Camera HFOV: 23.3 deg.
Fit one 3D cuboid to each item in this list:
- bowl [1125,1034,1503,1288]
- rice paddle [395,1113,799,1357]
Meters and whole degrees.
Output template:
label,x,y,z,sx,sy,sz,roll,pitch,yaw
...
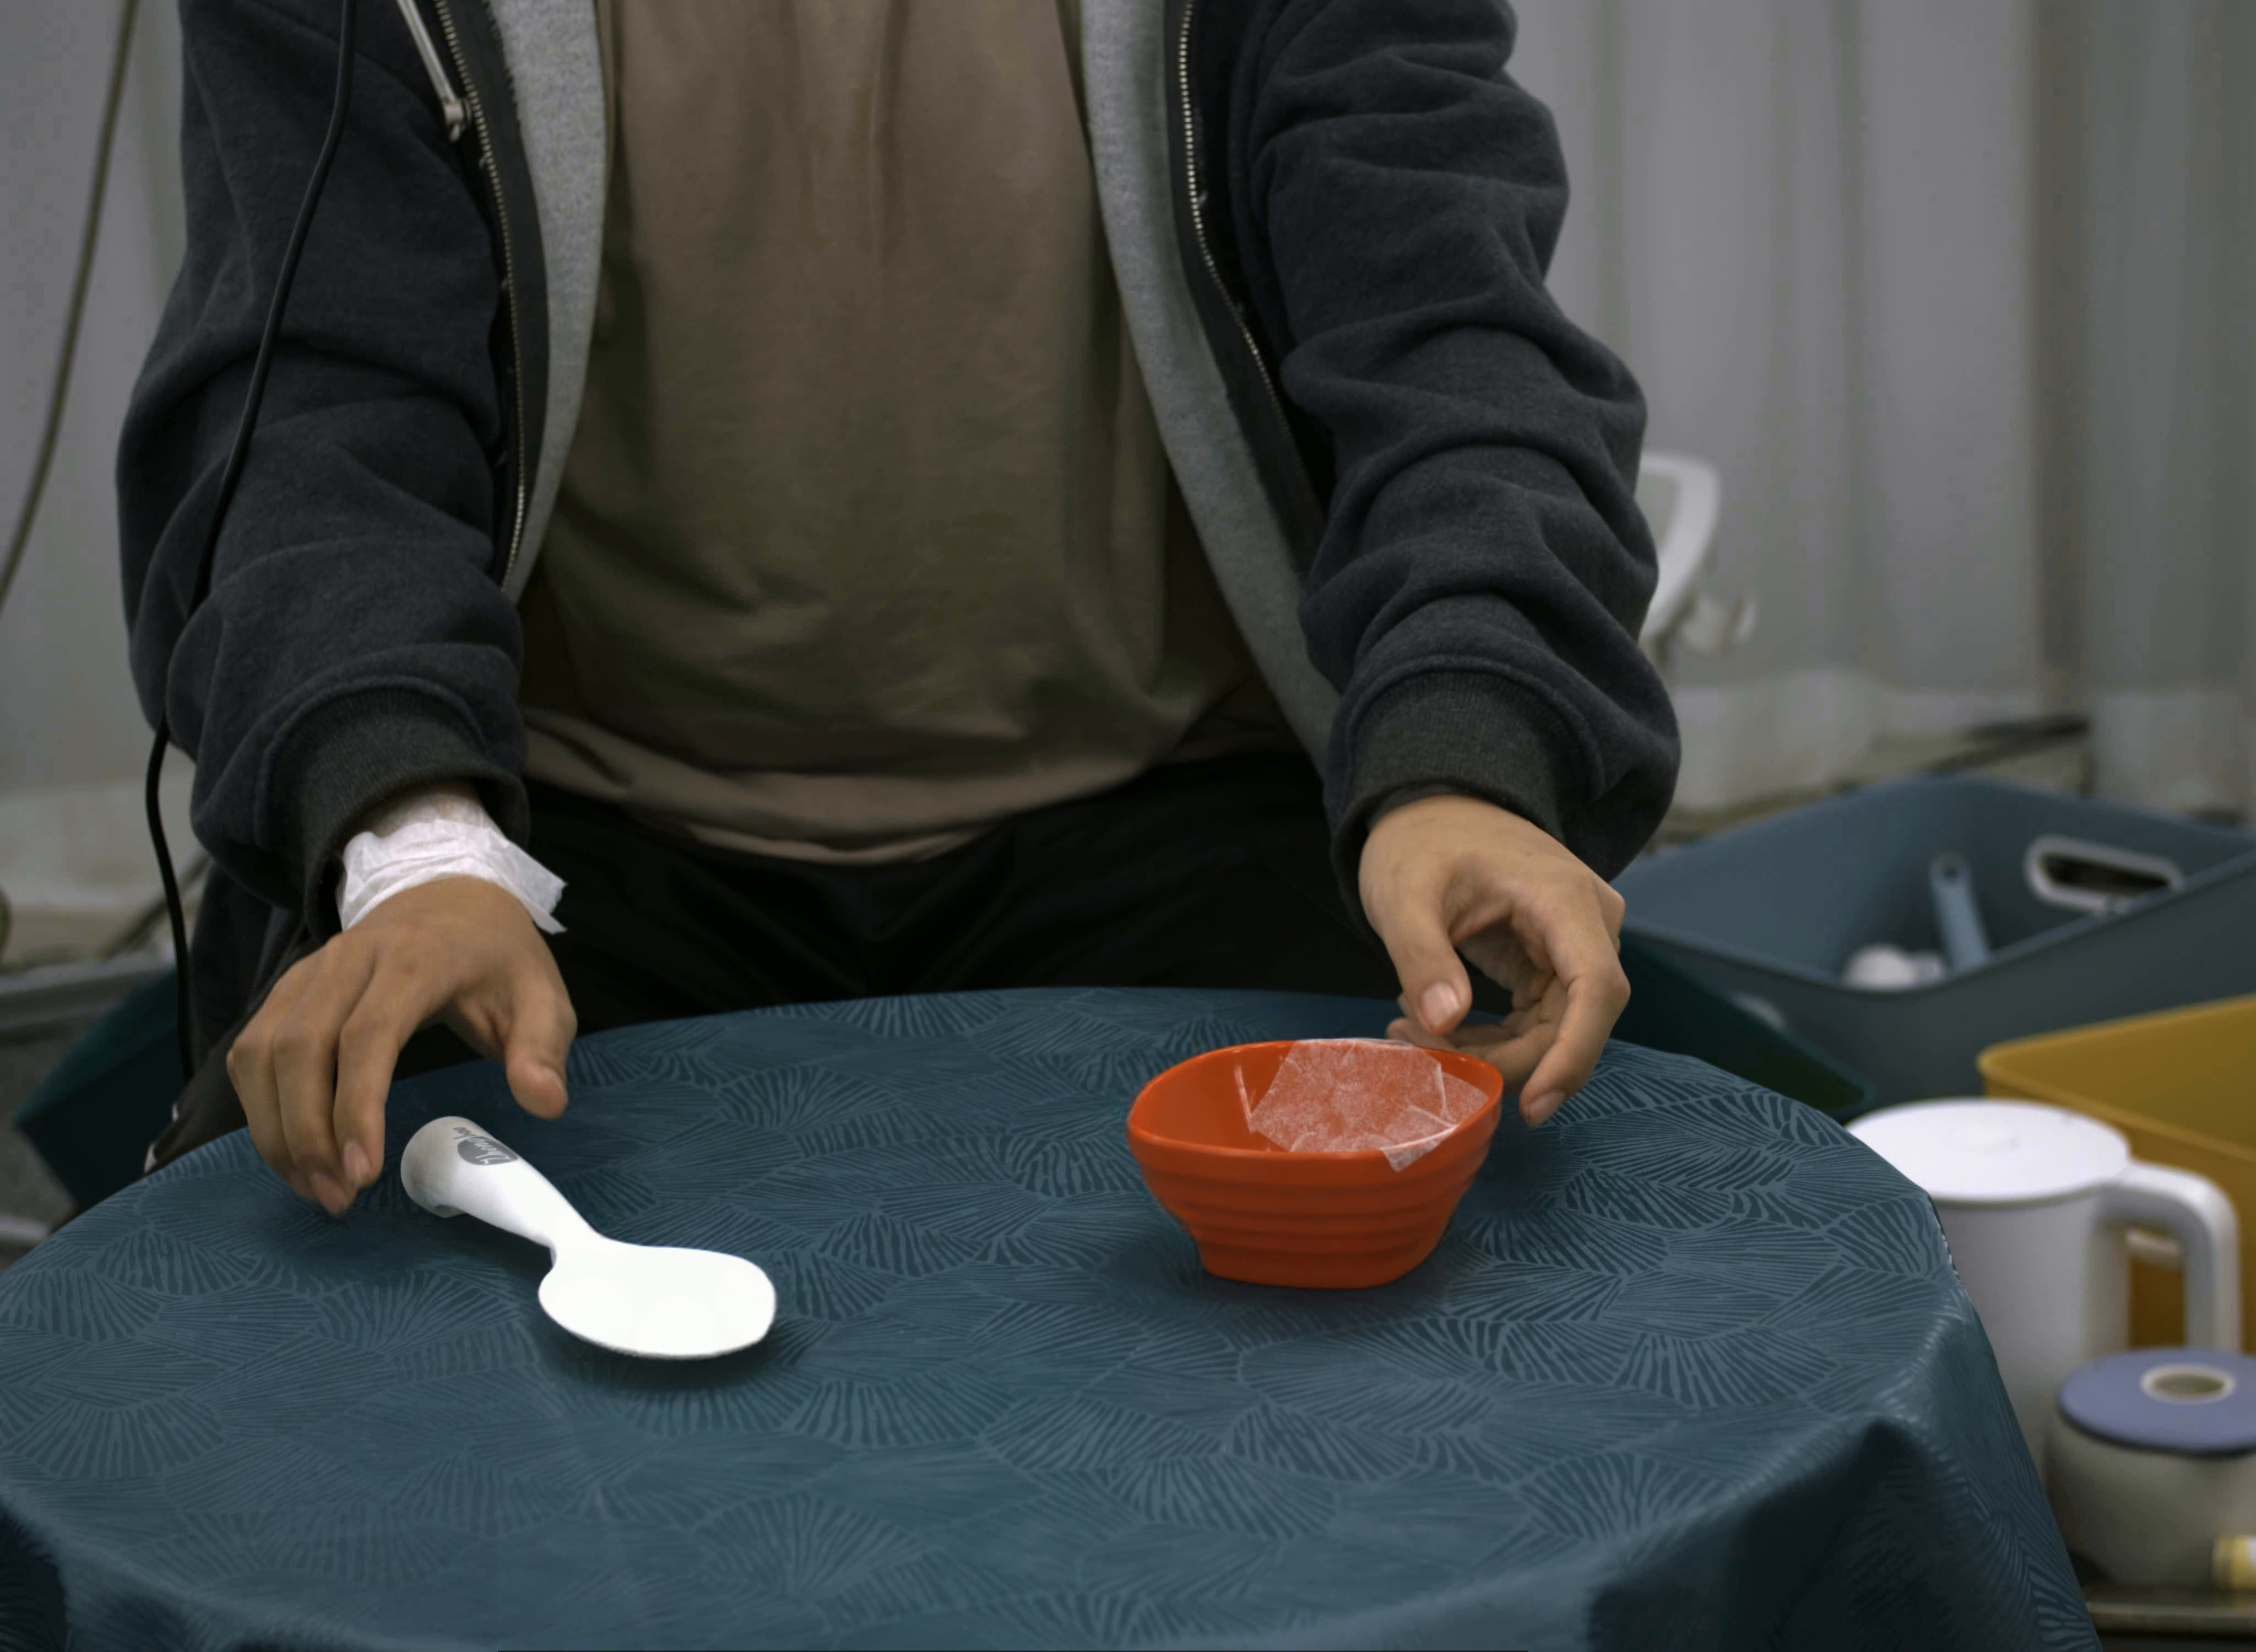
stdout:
label,x,y,z,sx,sy,sz,roll,pitch,yaw
bowl,0.057,0.103,1.645,0.118,0.051,0.120,-3,15,1
rice paddle,-0.164,0.125,1.649,0.068,0.029,0.207,-14,18,-29
